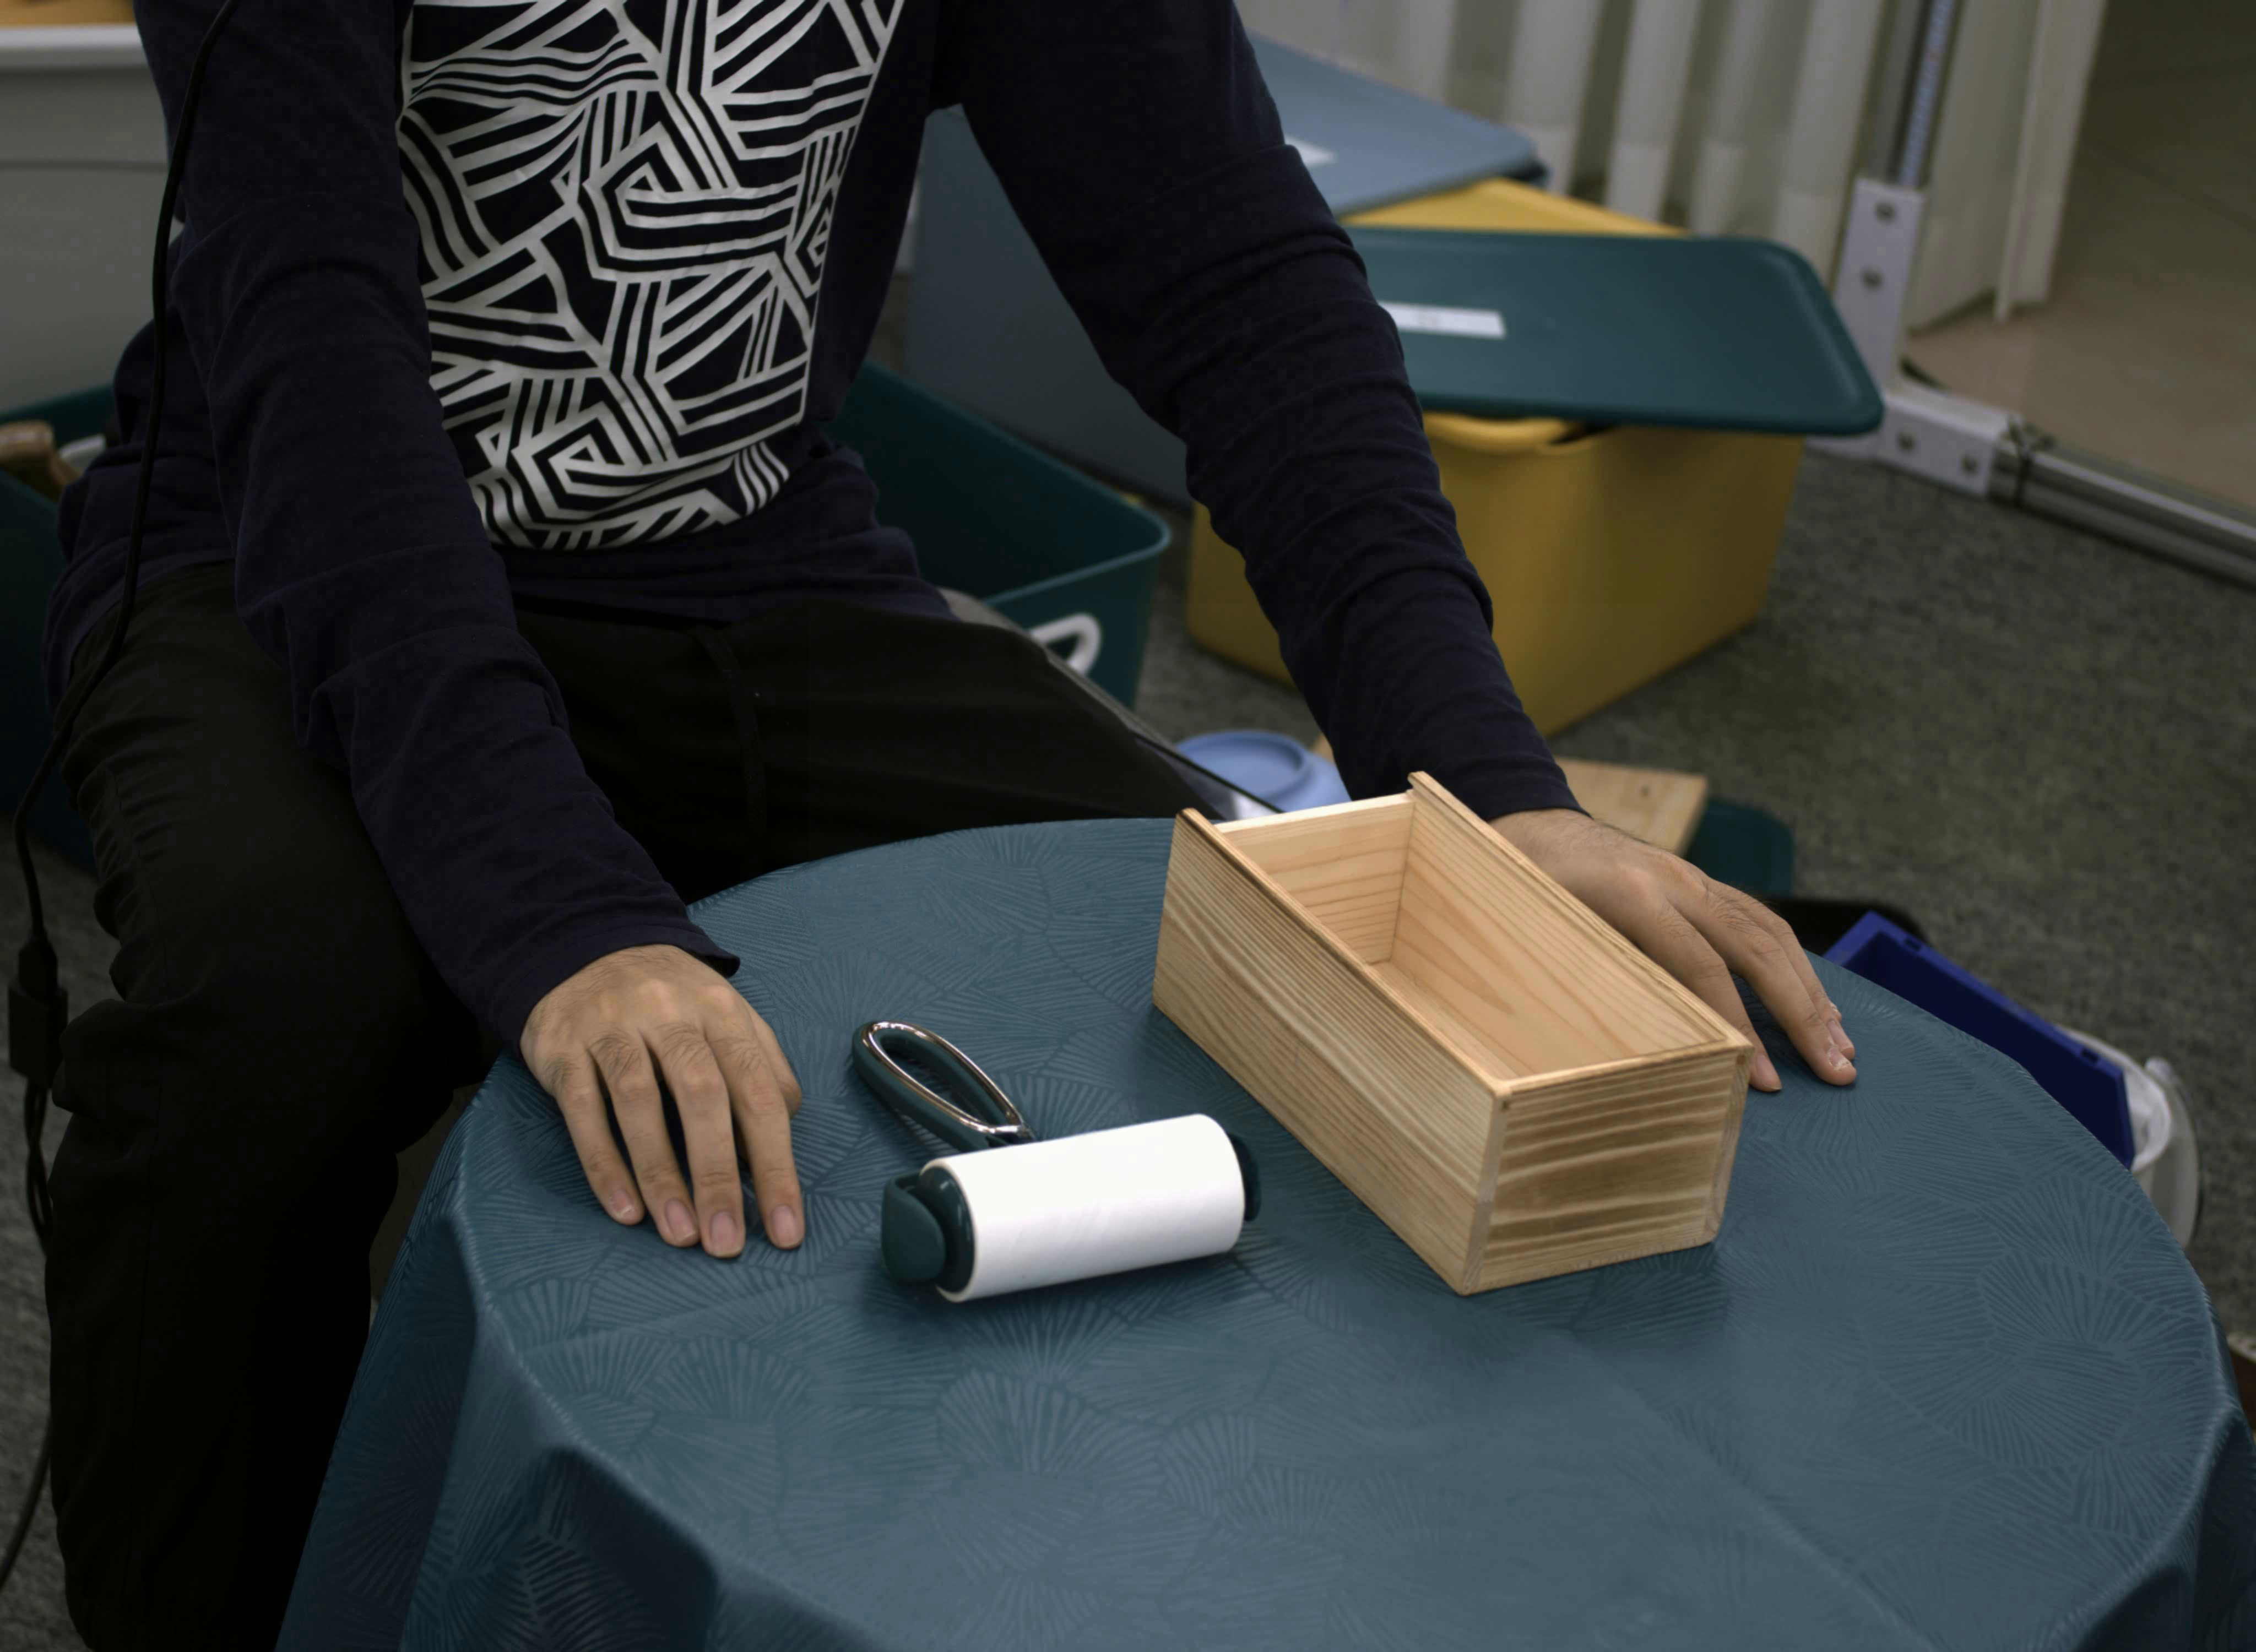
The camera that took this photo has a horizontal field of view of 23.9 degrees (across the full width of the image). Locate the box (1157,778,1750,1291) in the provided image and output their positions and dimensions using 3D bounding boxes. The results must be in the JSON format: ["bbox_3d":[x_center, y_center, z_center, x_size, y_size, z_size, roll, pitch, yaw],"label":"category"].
[{"bbox_3d":[0.109,0.069,1.851,0.107,0.080,0.213,-10,29,-28],"label":"box"}]

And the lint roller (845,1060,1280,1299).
[{"bbox_3d":[-0.048,0.099,1.801,0.133,0.048,0.181,-8,26,-27],"label":"lint roller"}]
